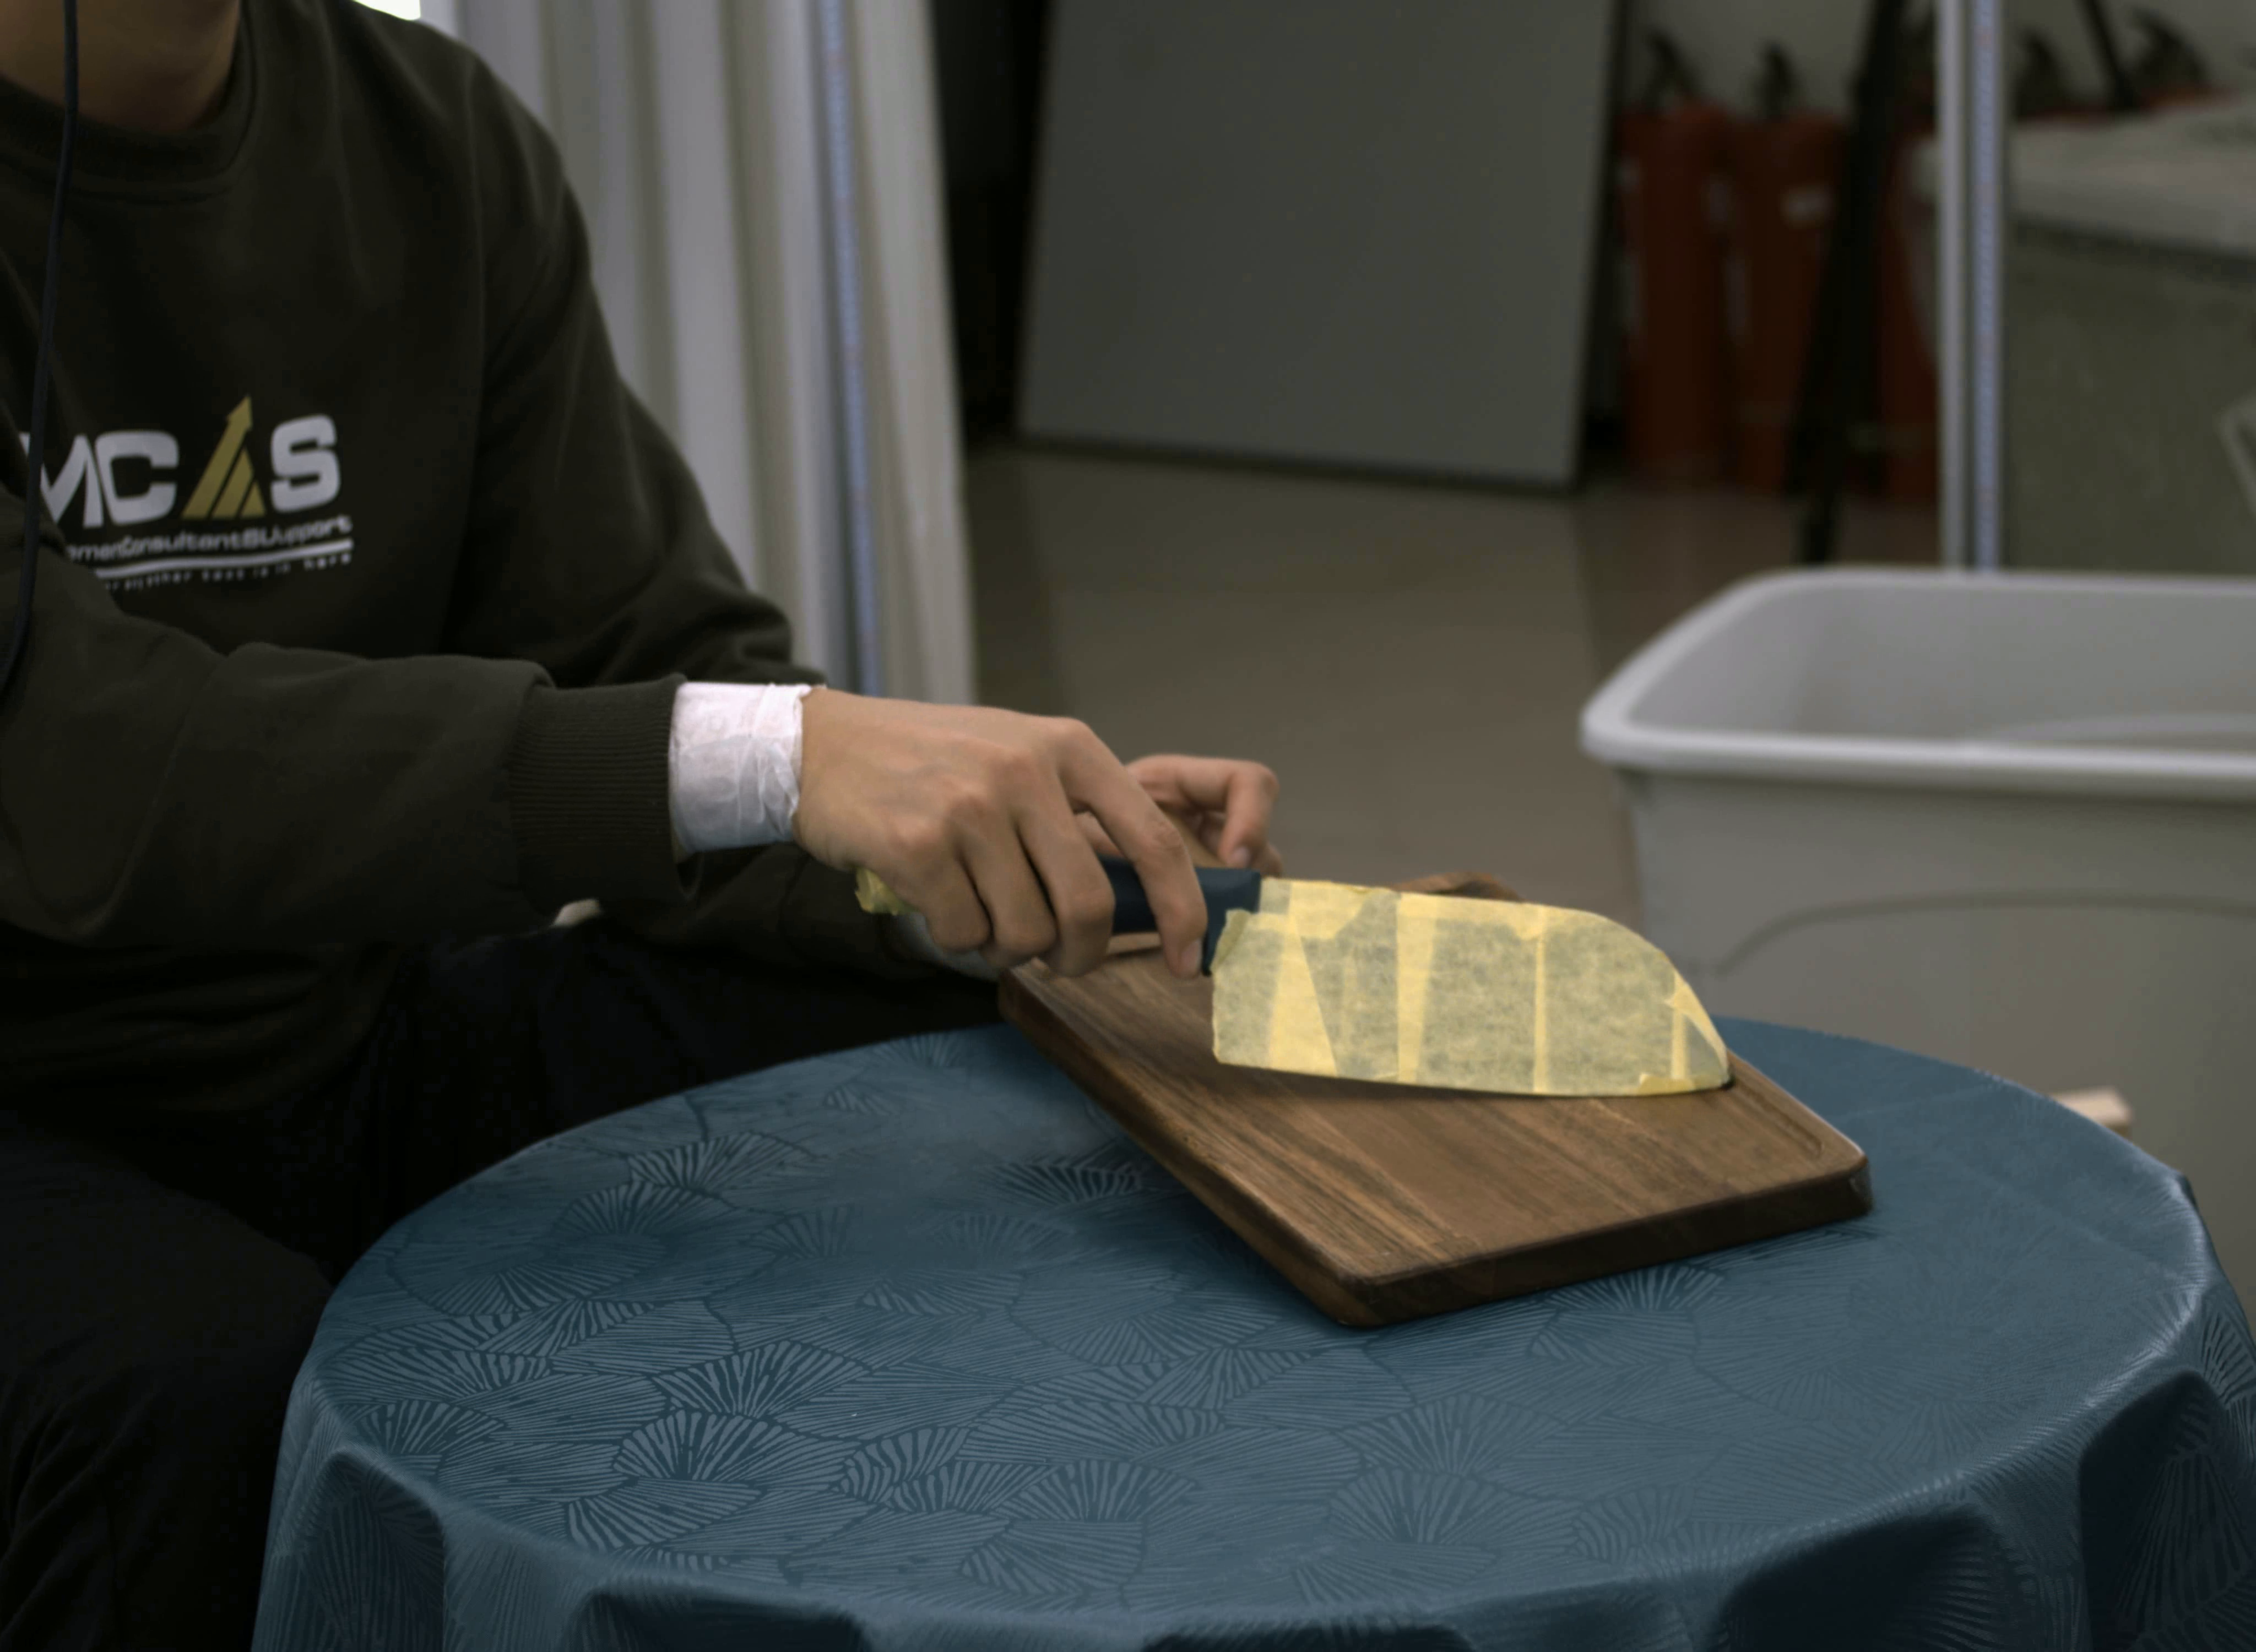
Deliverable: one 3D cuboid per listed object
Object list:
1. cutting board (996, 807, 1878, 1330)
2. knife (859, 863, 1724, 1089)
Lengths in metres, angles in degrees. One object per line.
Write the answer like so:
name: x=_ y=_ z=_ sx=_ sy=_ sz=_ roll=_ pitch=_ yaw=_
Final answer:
cutting board: x=0.074 y=0.066 z=1.798 sx=0.197 sy=0.023 sz=0.356 roll=-10 pitch=26 yaw=-25
knife: x=0.053 y=0.049 z=1.754 sx=0.286 sy=0.027 sz=0.081 roll=7 pitch=55 yaw=1
